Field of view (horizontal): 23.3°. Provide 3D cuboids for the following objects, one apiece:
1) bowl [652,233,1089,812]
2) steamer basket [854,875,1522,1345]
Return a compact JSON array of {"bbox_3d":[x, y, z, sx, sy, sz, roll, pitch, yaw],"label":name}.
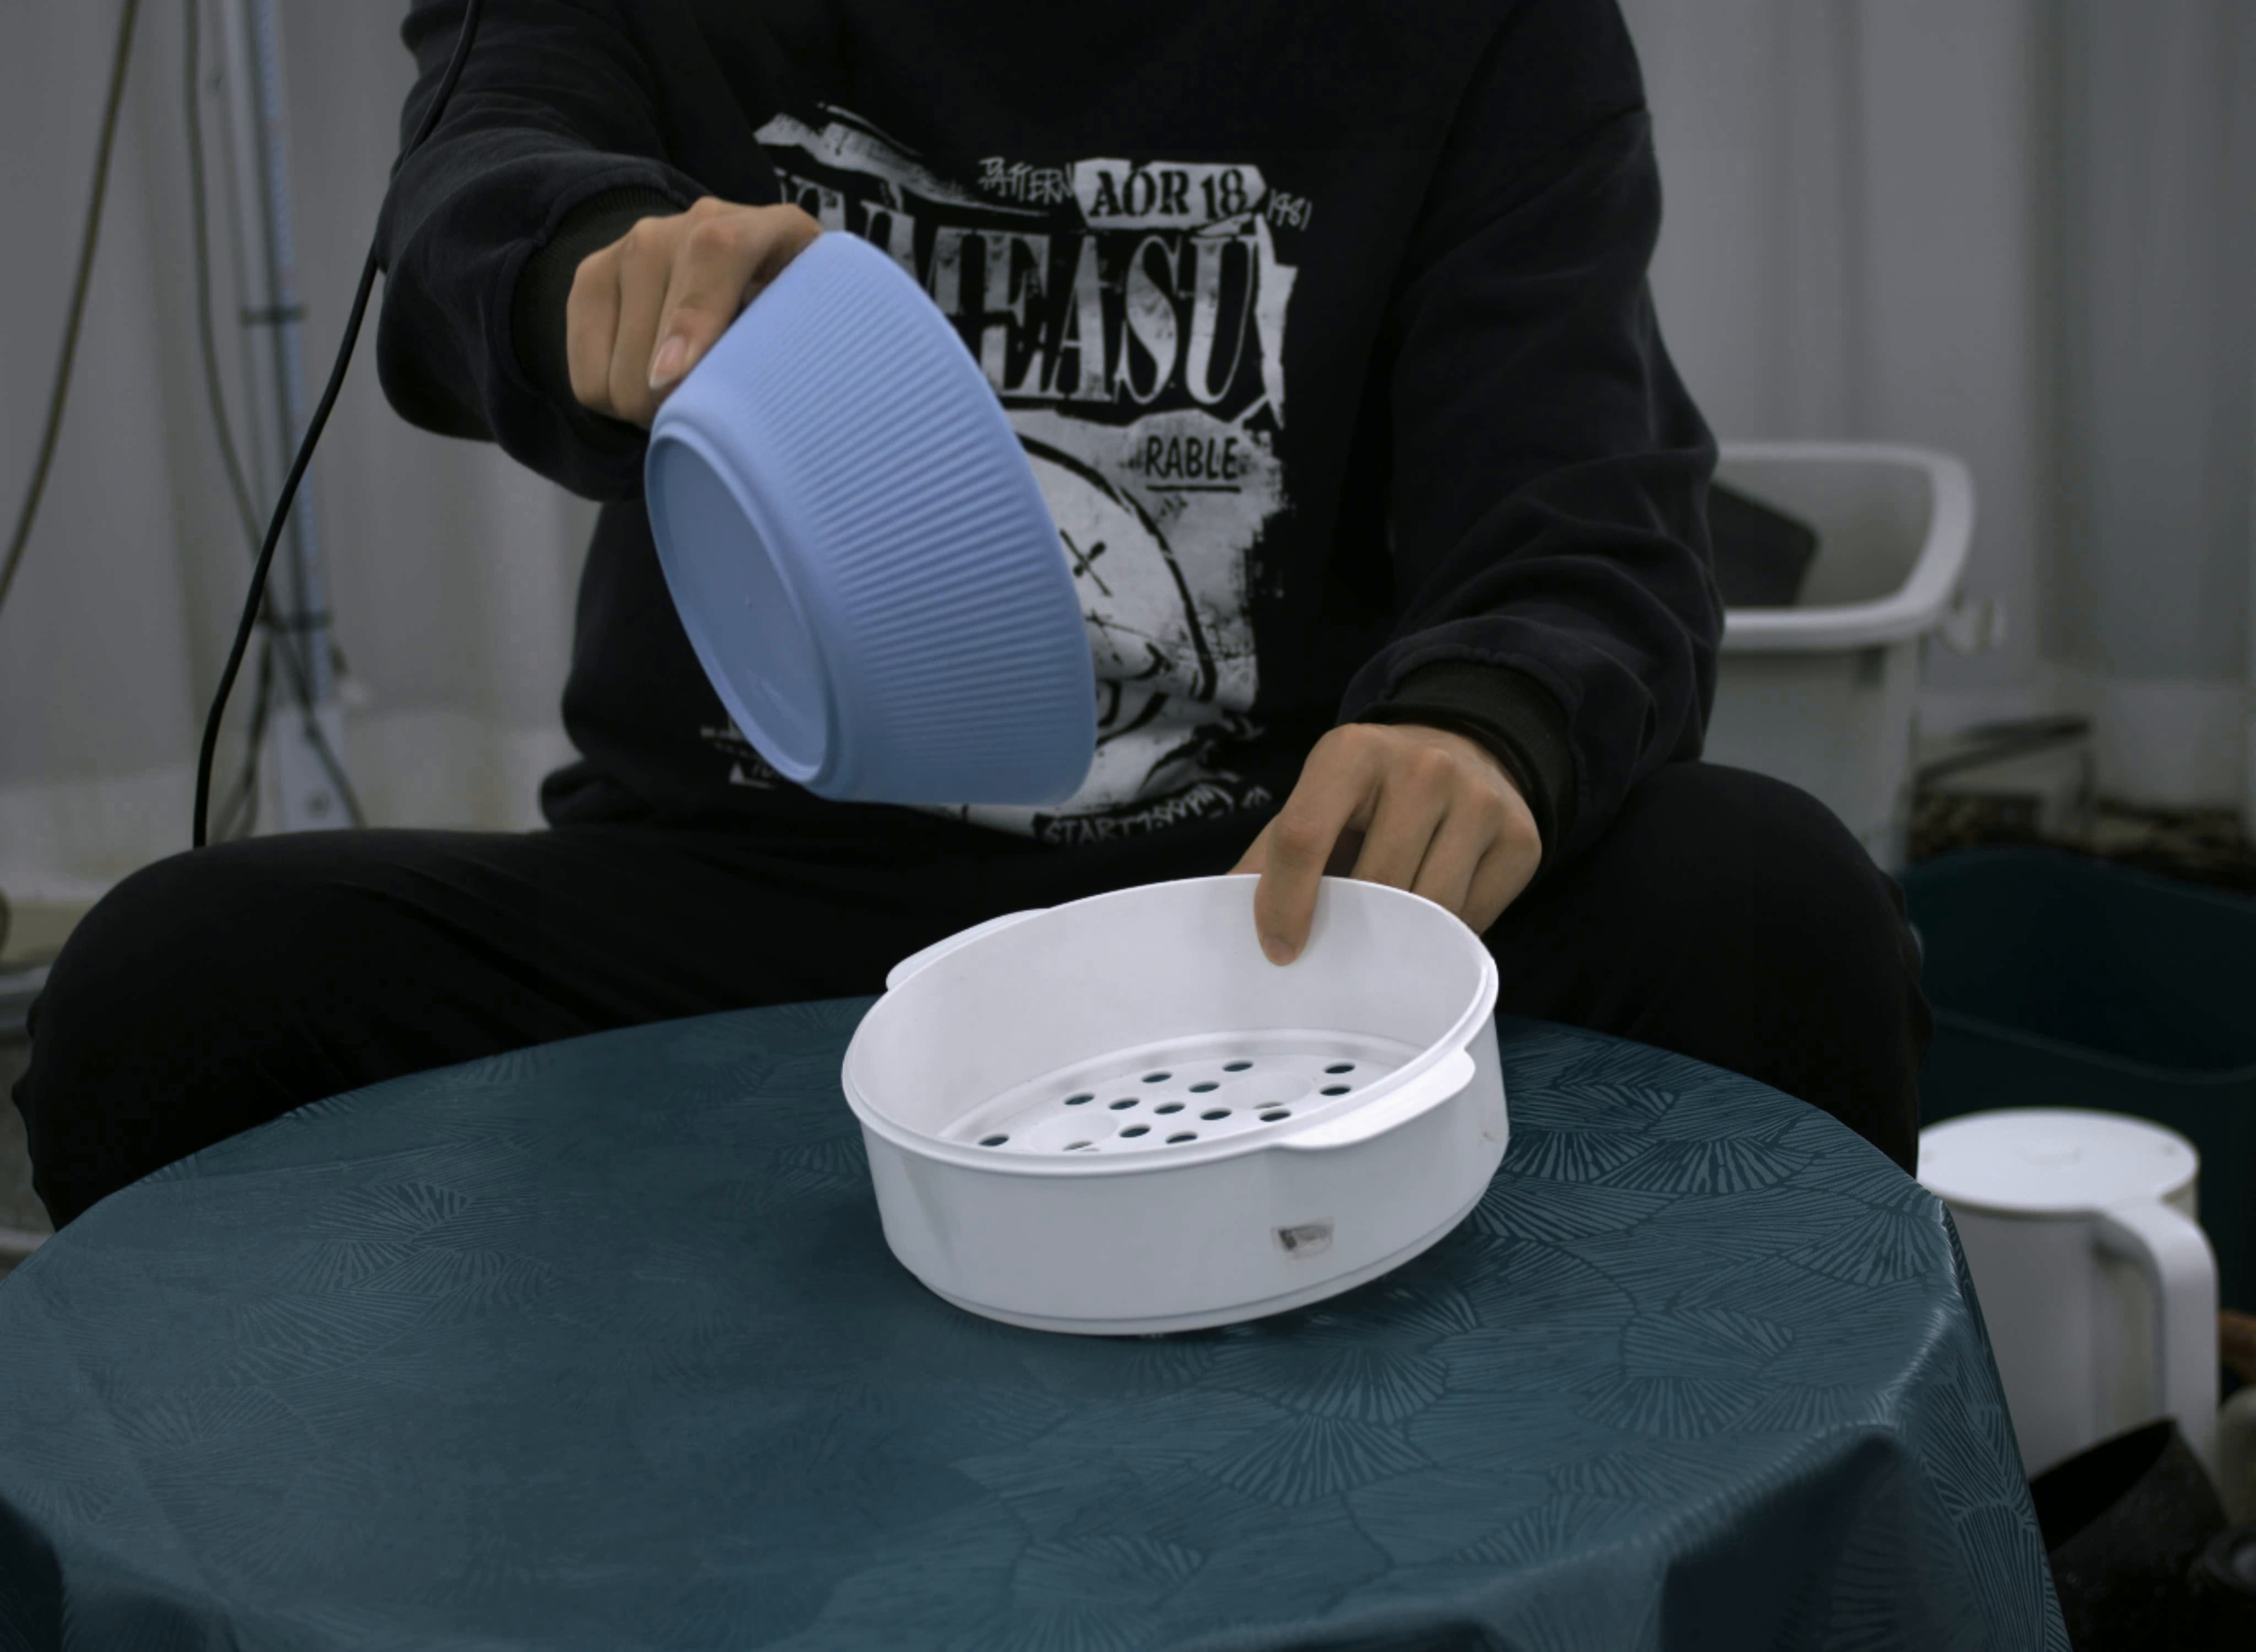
[{"bbox_3d":[-0.081,-0.074,1.550,0.070,0.175,0.177,-24,21,-18],"label":"bowl"},{"bbox_3d":[0.021,0.086,1.651,0.202,0.069,0.232,-24,28,-33],"label":"steamer basket"}]
